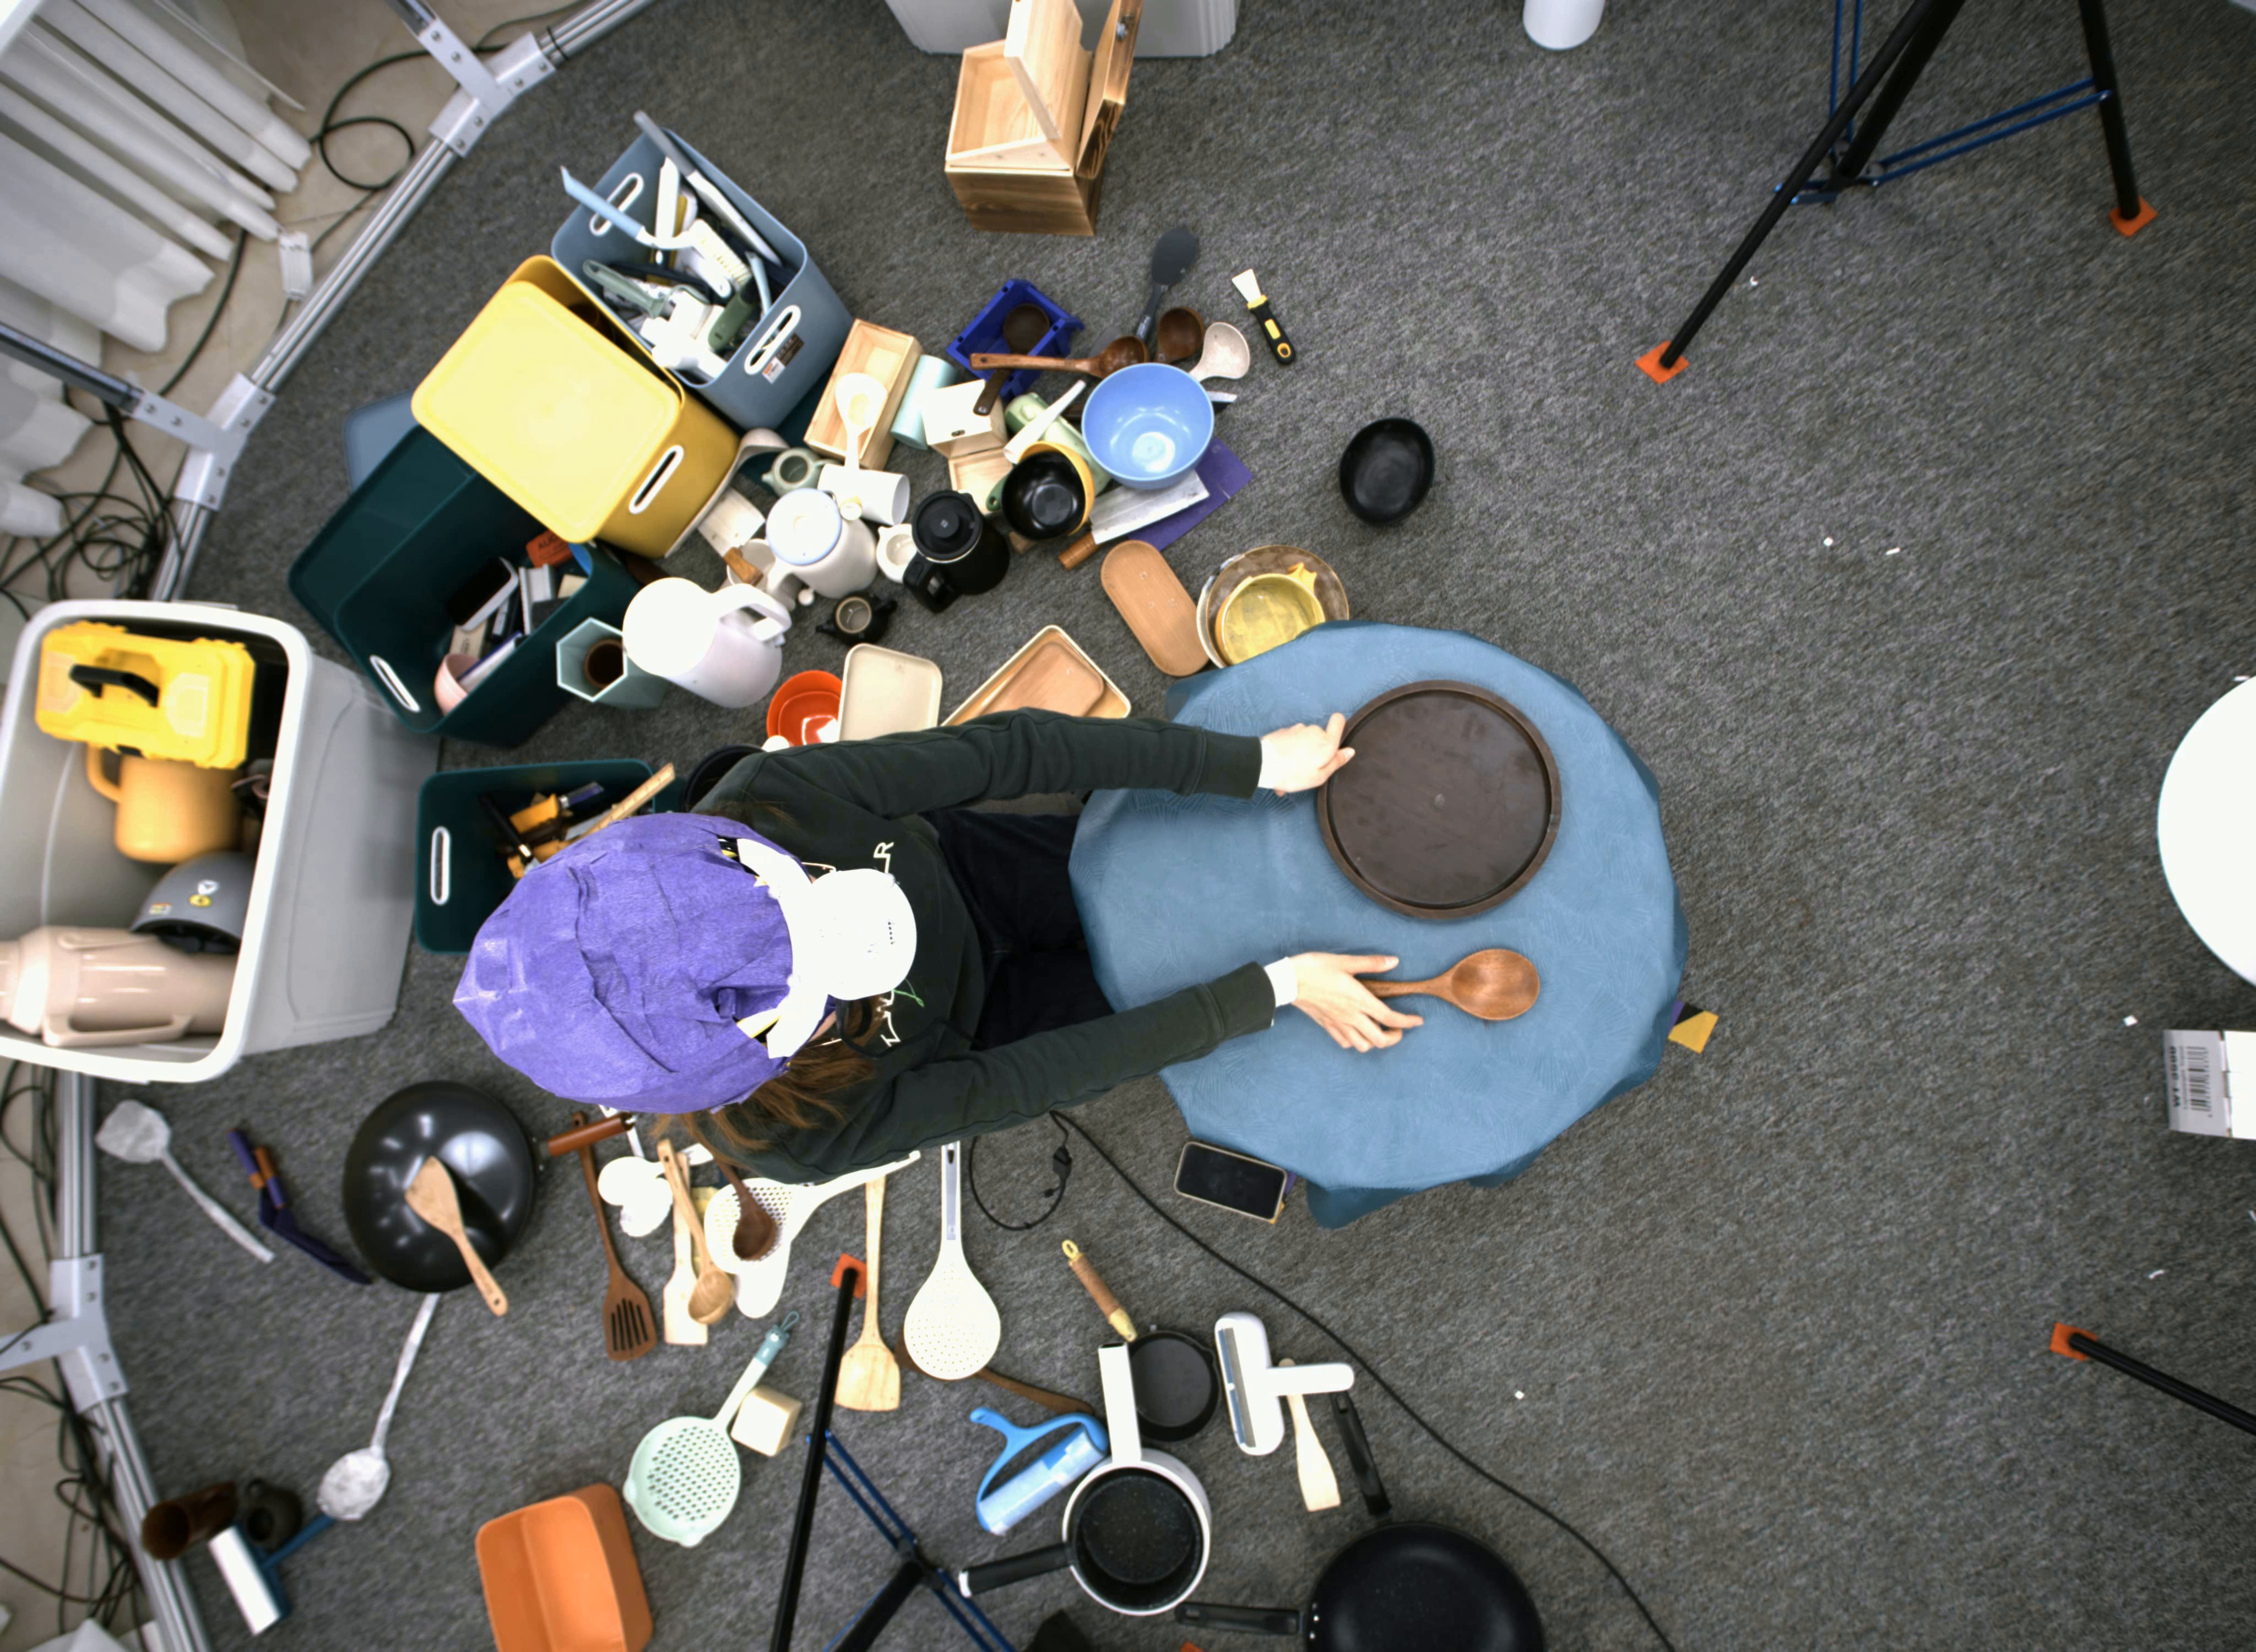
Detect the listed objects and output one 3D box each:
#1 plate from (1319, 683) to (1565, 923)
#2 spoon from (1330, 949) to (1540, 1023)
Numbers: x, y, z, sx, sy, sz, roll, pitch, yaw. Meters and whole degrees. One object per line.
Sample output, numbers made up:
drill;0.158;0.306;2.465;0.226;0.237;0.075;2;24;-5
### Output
plate;0.328;-0.026;1.448;0.256;0.029;0.253;-1;86;9
spoon;0.319;0.169;1.441;0.217;0.017;0.075;-4;85;10
